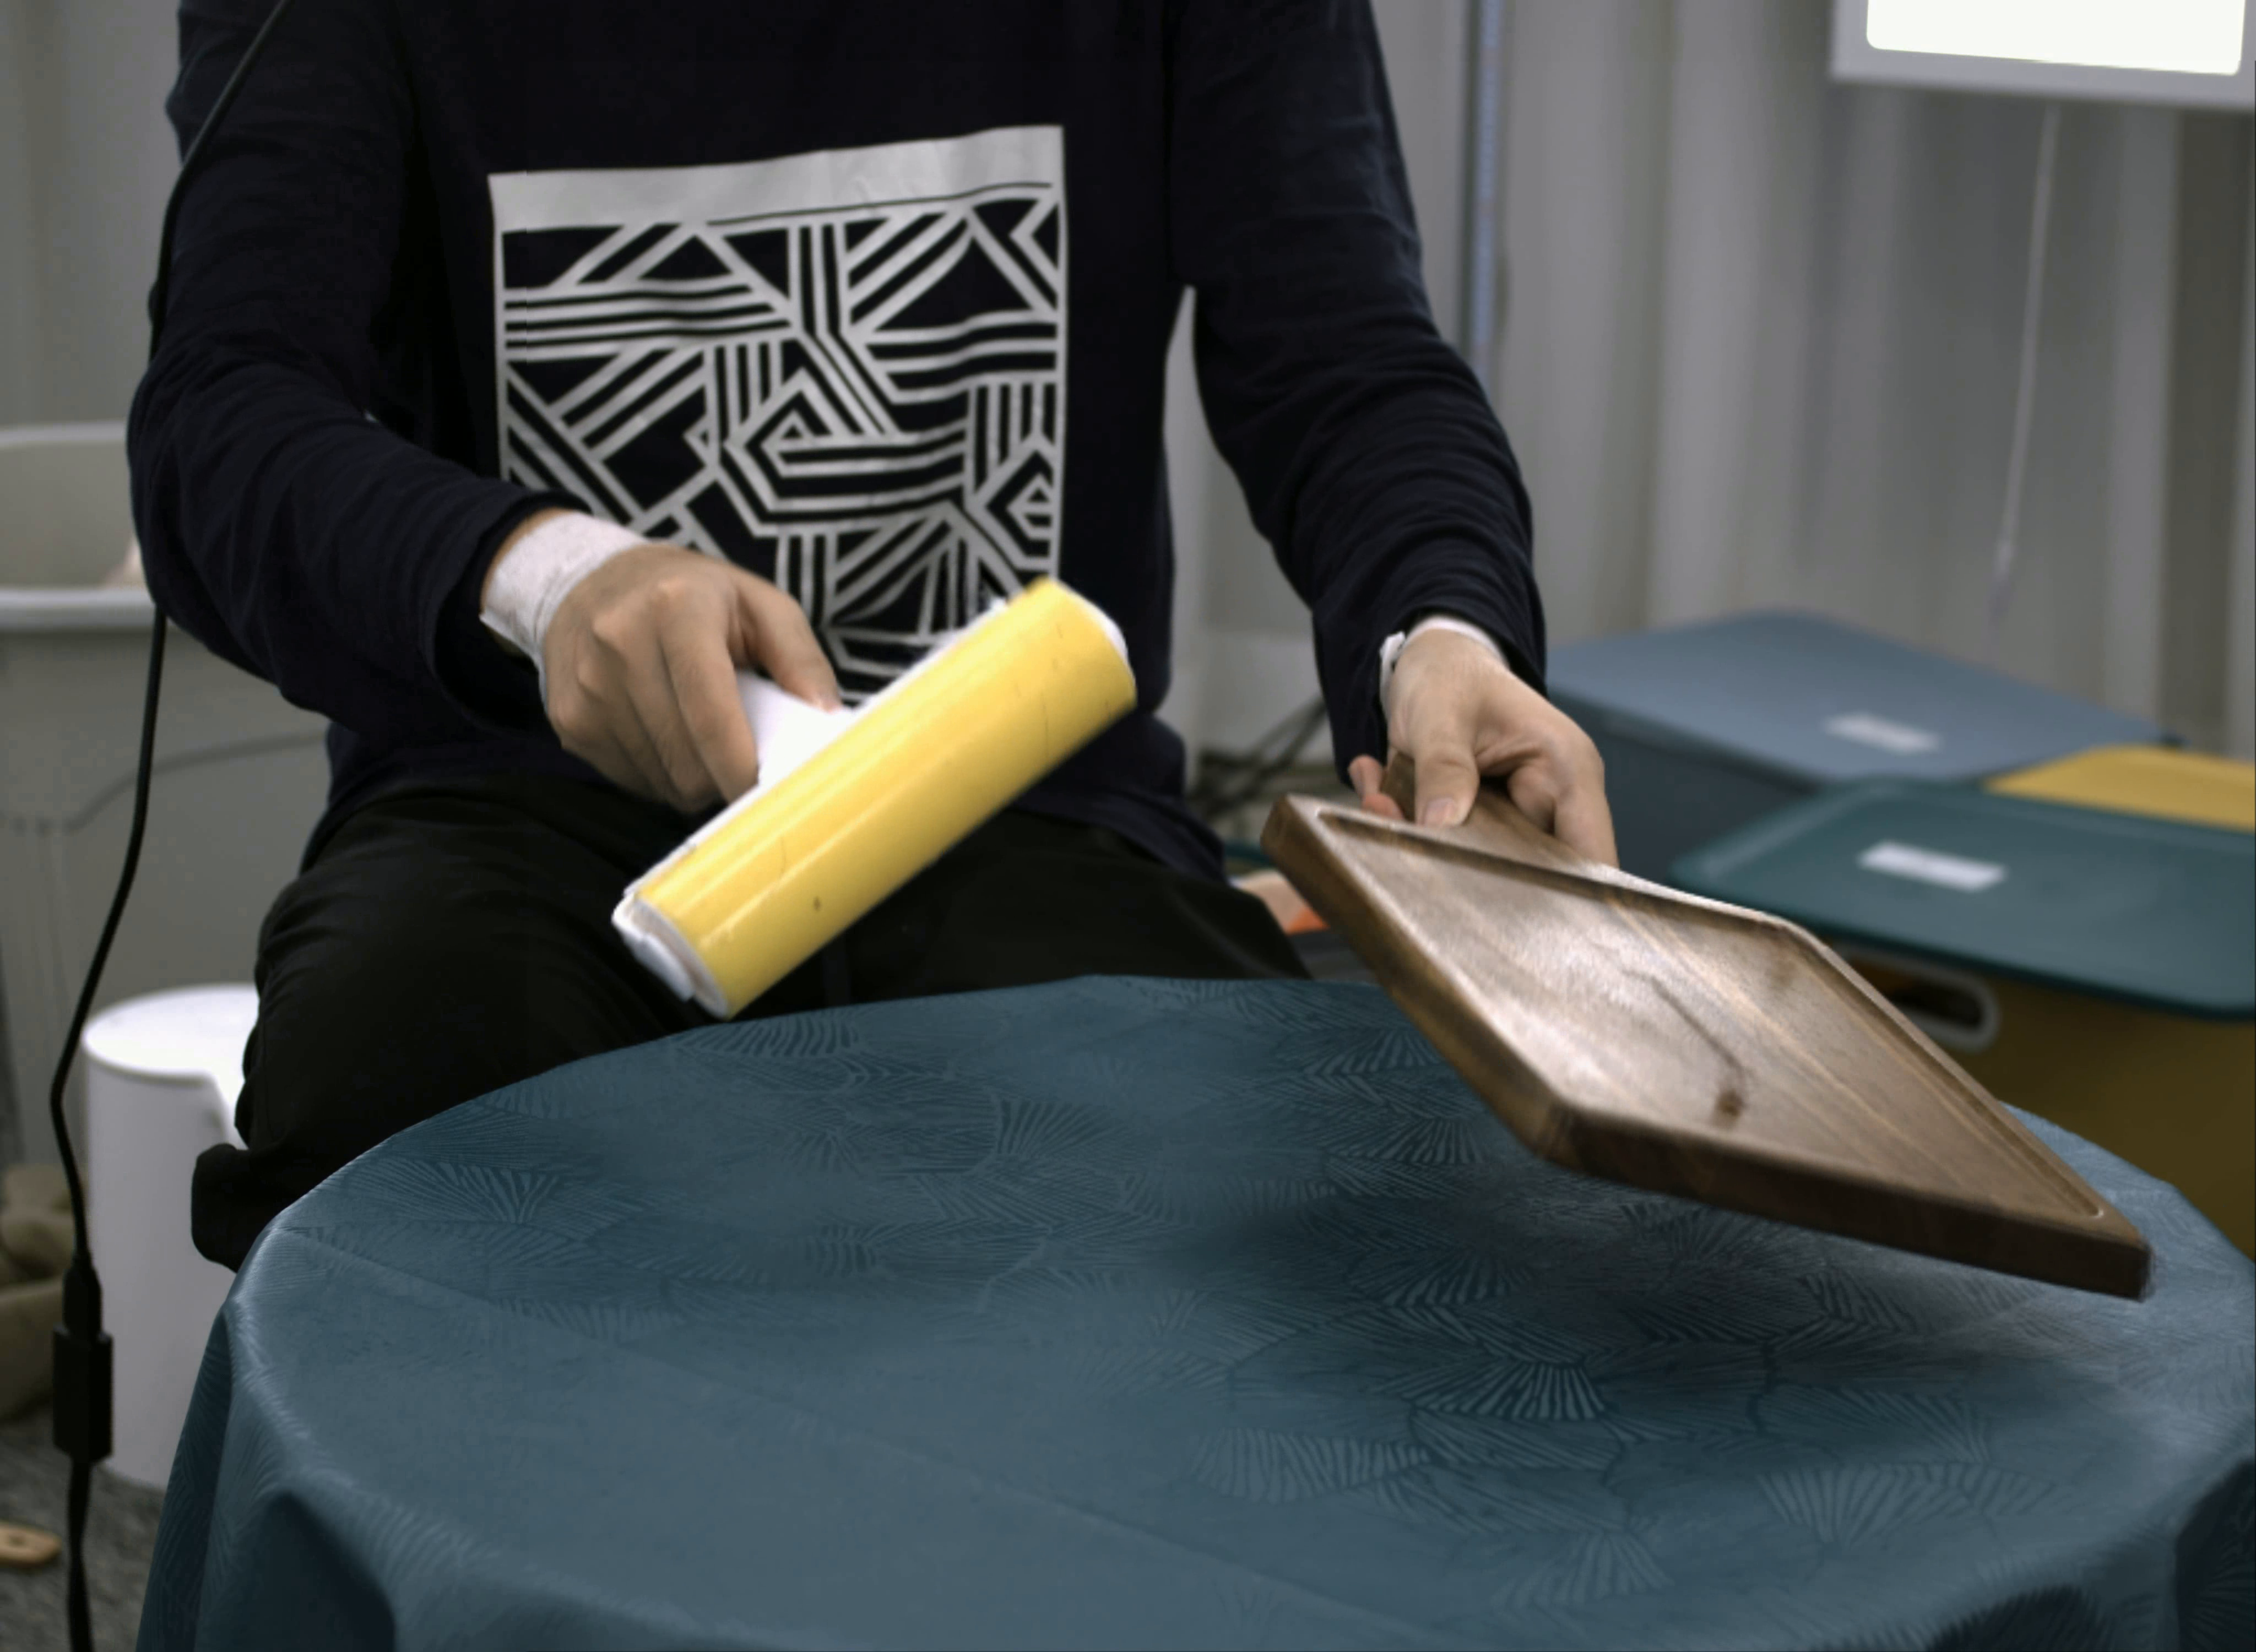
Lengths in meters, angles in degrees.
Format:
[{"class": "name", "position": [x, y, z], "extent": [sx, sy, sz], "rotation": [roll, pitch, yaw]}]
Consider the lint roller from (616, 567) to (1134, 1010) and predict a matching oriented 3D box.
[{"class": "lint roller", "position": [-0.113, -0.035, 1.642], "extent": [0.174, 0.052, 0.189], "rotation": [-40, 40, -16]}]

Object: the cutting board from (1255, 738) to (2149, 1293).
[{"class": "cutting board", "position": [0.150, 0.042, 1.599], "extent": [0.202, 0.023, 0.348], "rotation": [15, 15, -24]}]
